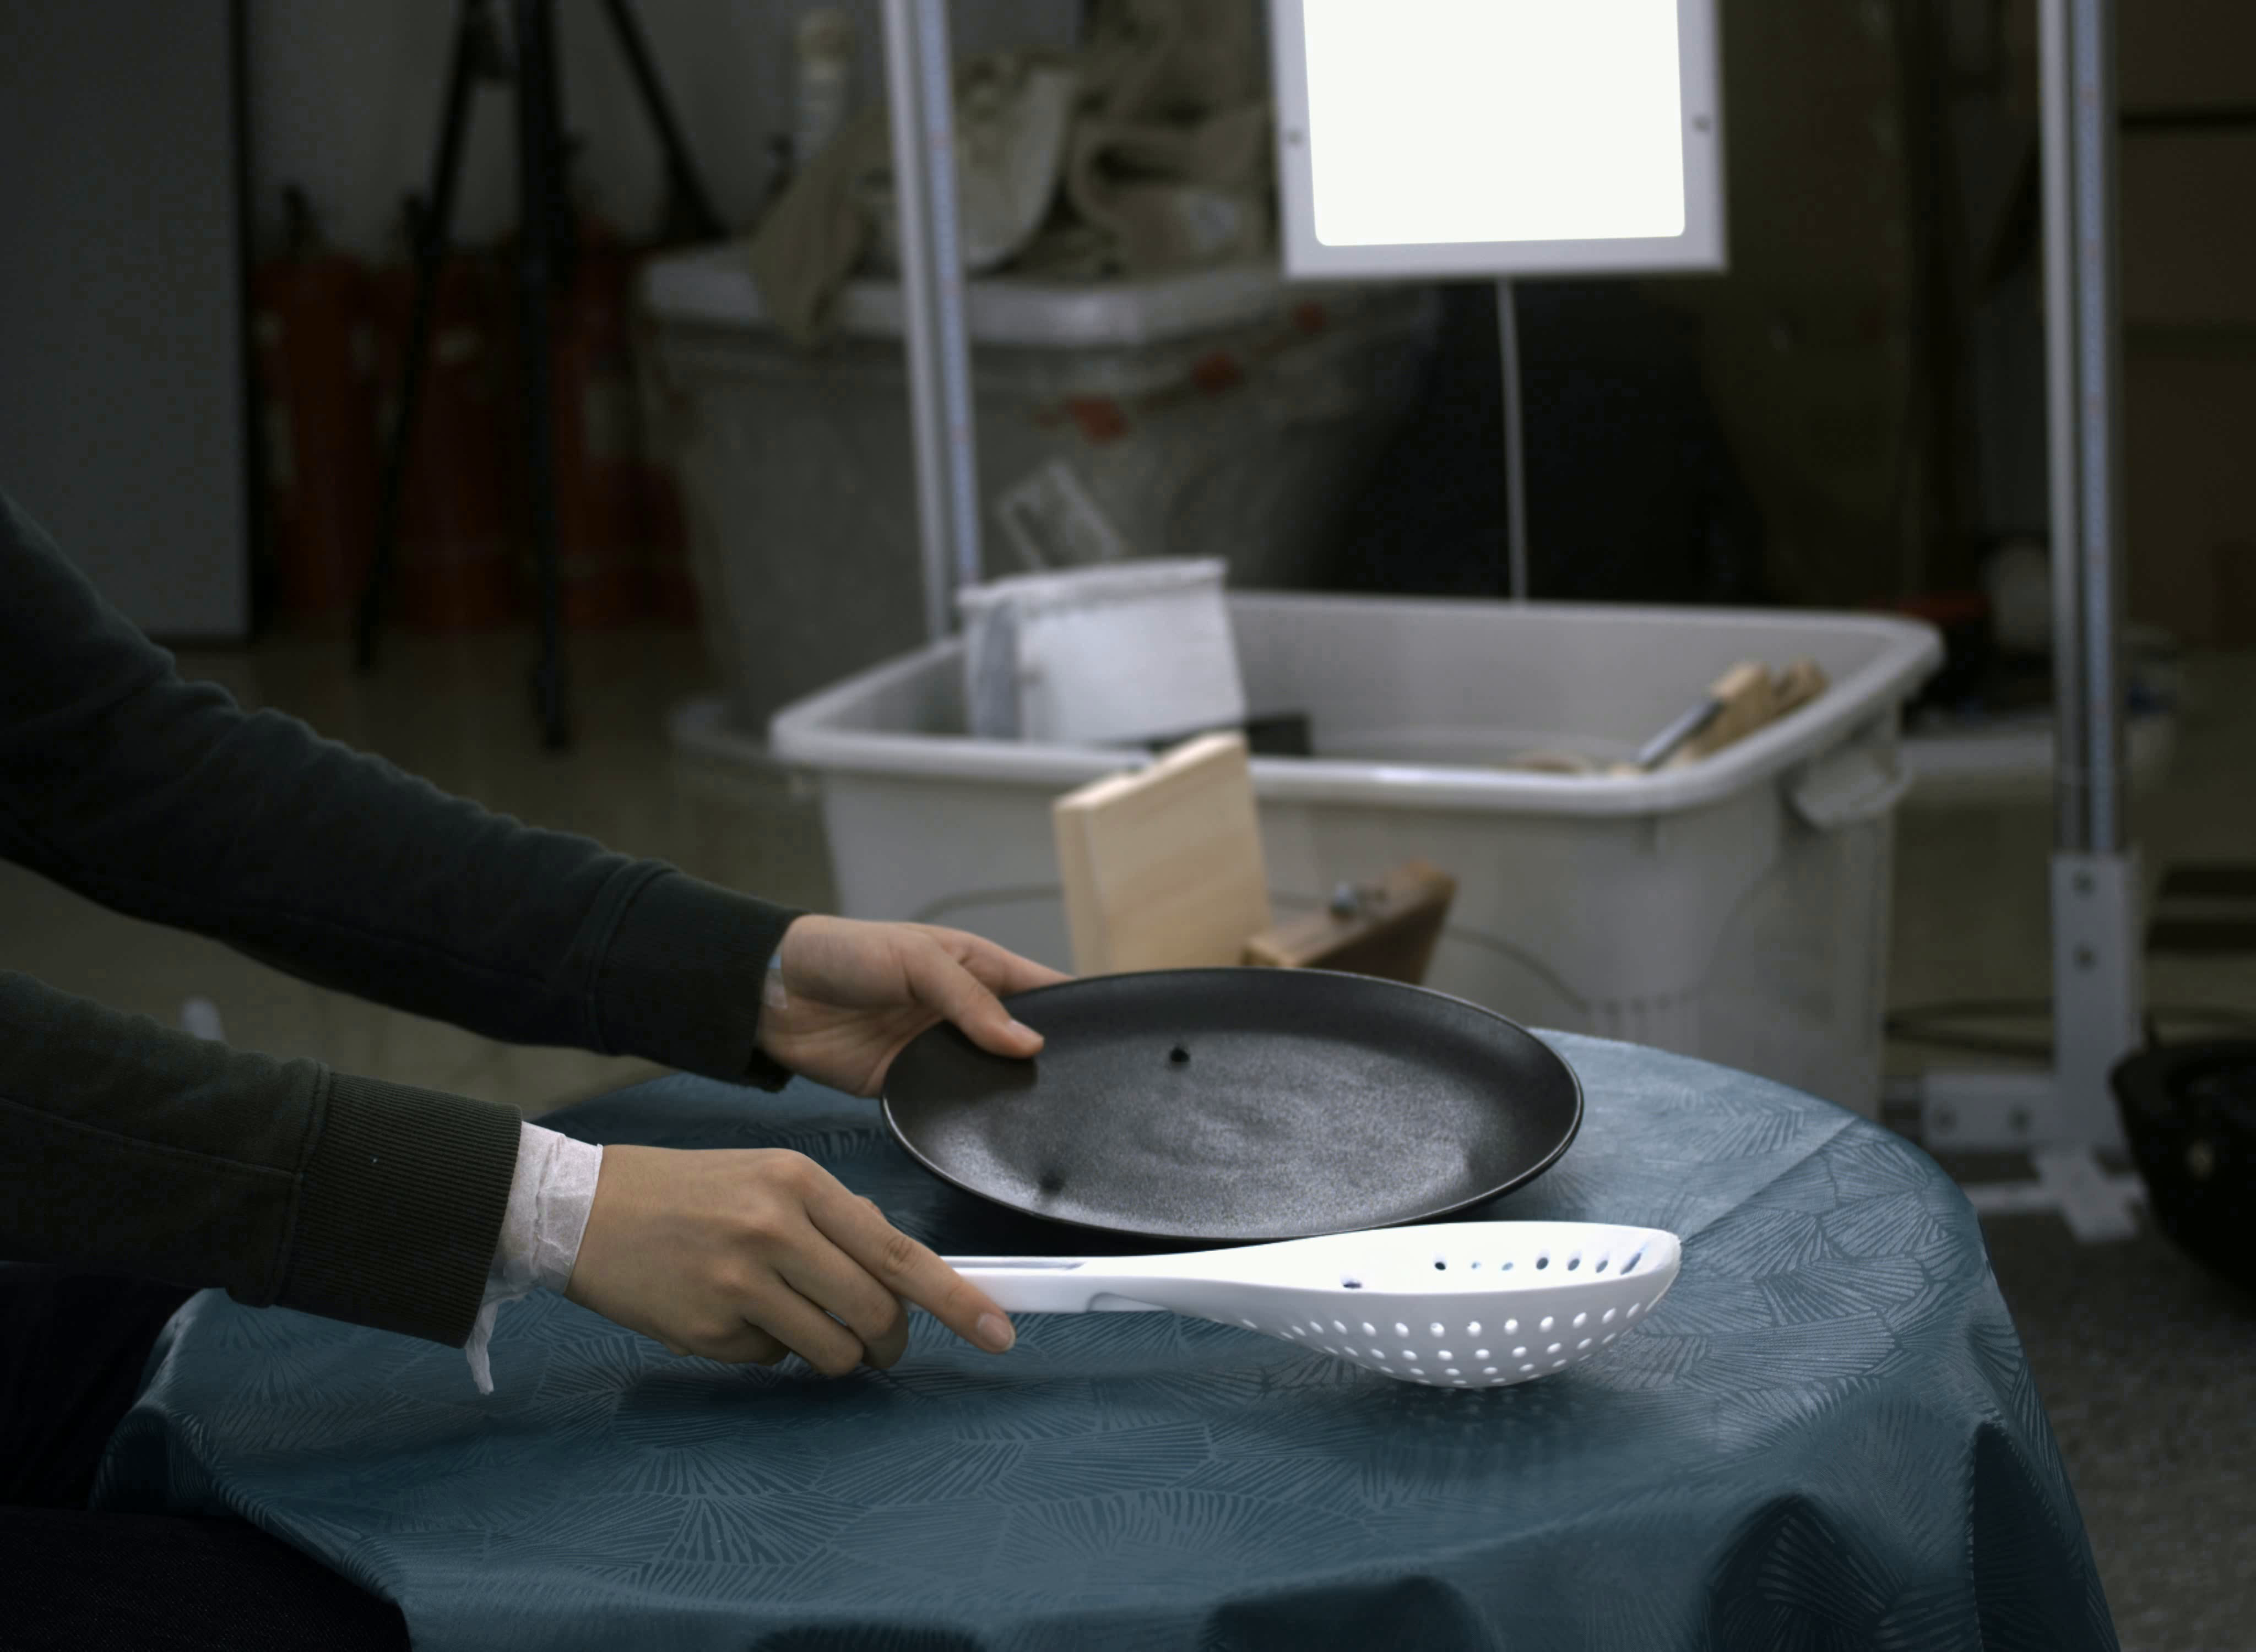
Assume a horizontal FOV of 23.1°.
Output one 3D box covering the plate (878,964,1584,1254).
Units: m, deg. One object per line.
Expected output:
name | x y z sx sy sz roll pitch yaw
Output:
plate | 0.035 0.101 1.893 0.243 0.023 0.244 -1 20 -1

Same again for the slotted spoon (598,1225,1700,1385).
slotted spoon | 0.003 0.140 1.706 0.353 0.046 0.134 3 4 17
